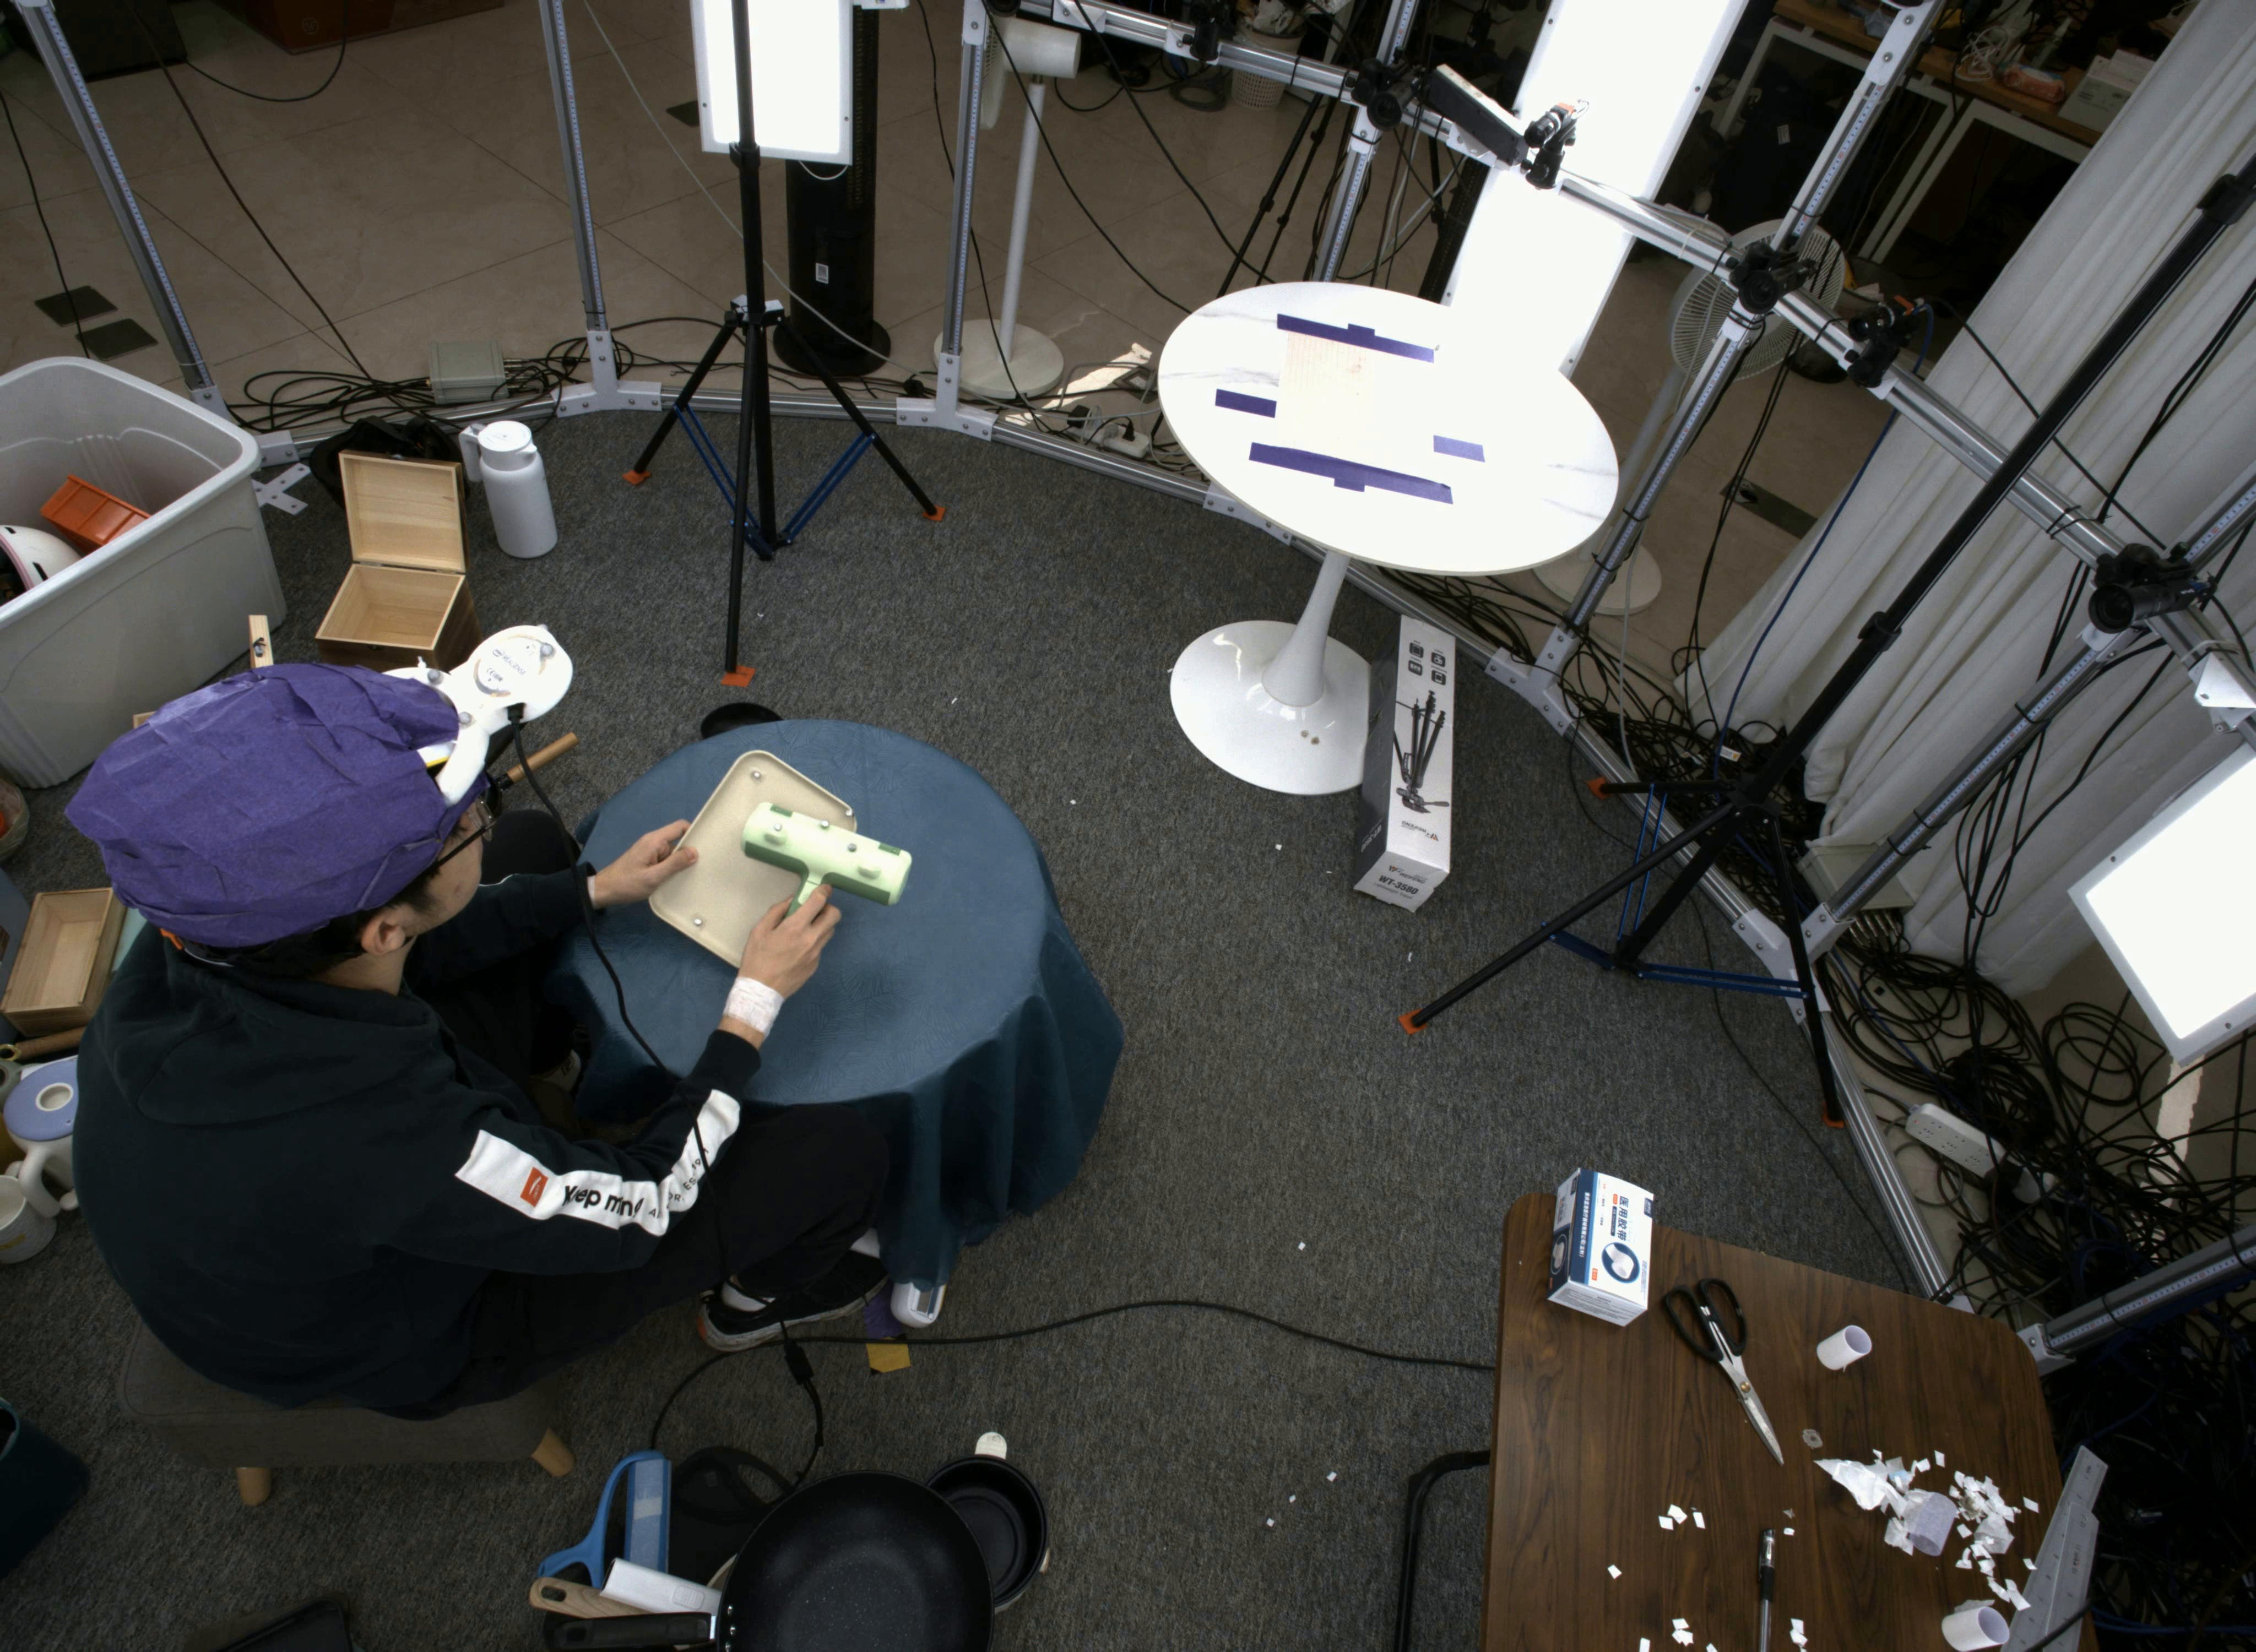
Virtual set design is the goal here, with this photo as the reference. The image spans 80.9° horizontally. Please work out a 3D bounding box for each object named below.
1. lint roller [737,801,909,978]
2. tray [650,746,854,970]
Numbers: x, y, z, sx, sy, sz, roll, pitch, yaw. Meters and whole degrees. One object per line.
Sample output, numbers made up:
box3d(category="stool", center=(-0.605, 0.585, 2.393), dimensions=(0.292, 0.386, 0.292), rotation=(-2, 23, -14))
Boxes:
box3d(category="lint roller", center=(-0.375, 0.080, 1.503), dimensions=(0.198, 0.083, 0.182), rotation=(20, 66, -5))
box3d(category="tray", center=(-0.458, 0.038, 1.578), dimensions=(0.173, 0.017, 0.240), rotation=(33, 85, -10))
